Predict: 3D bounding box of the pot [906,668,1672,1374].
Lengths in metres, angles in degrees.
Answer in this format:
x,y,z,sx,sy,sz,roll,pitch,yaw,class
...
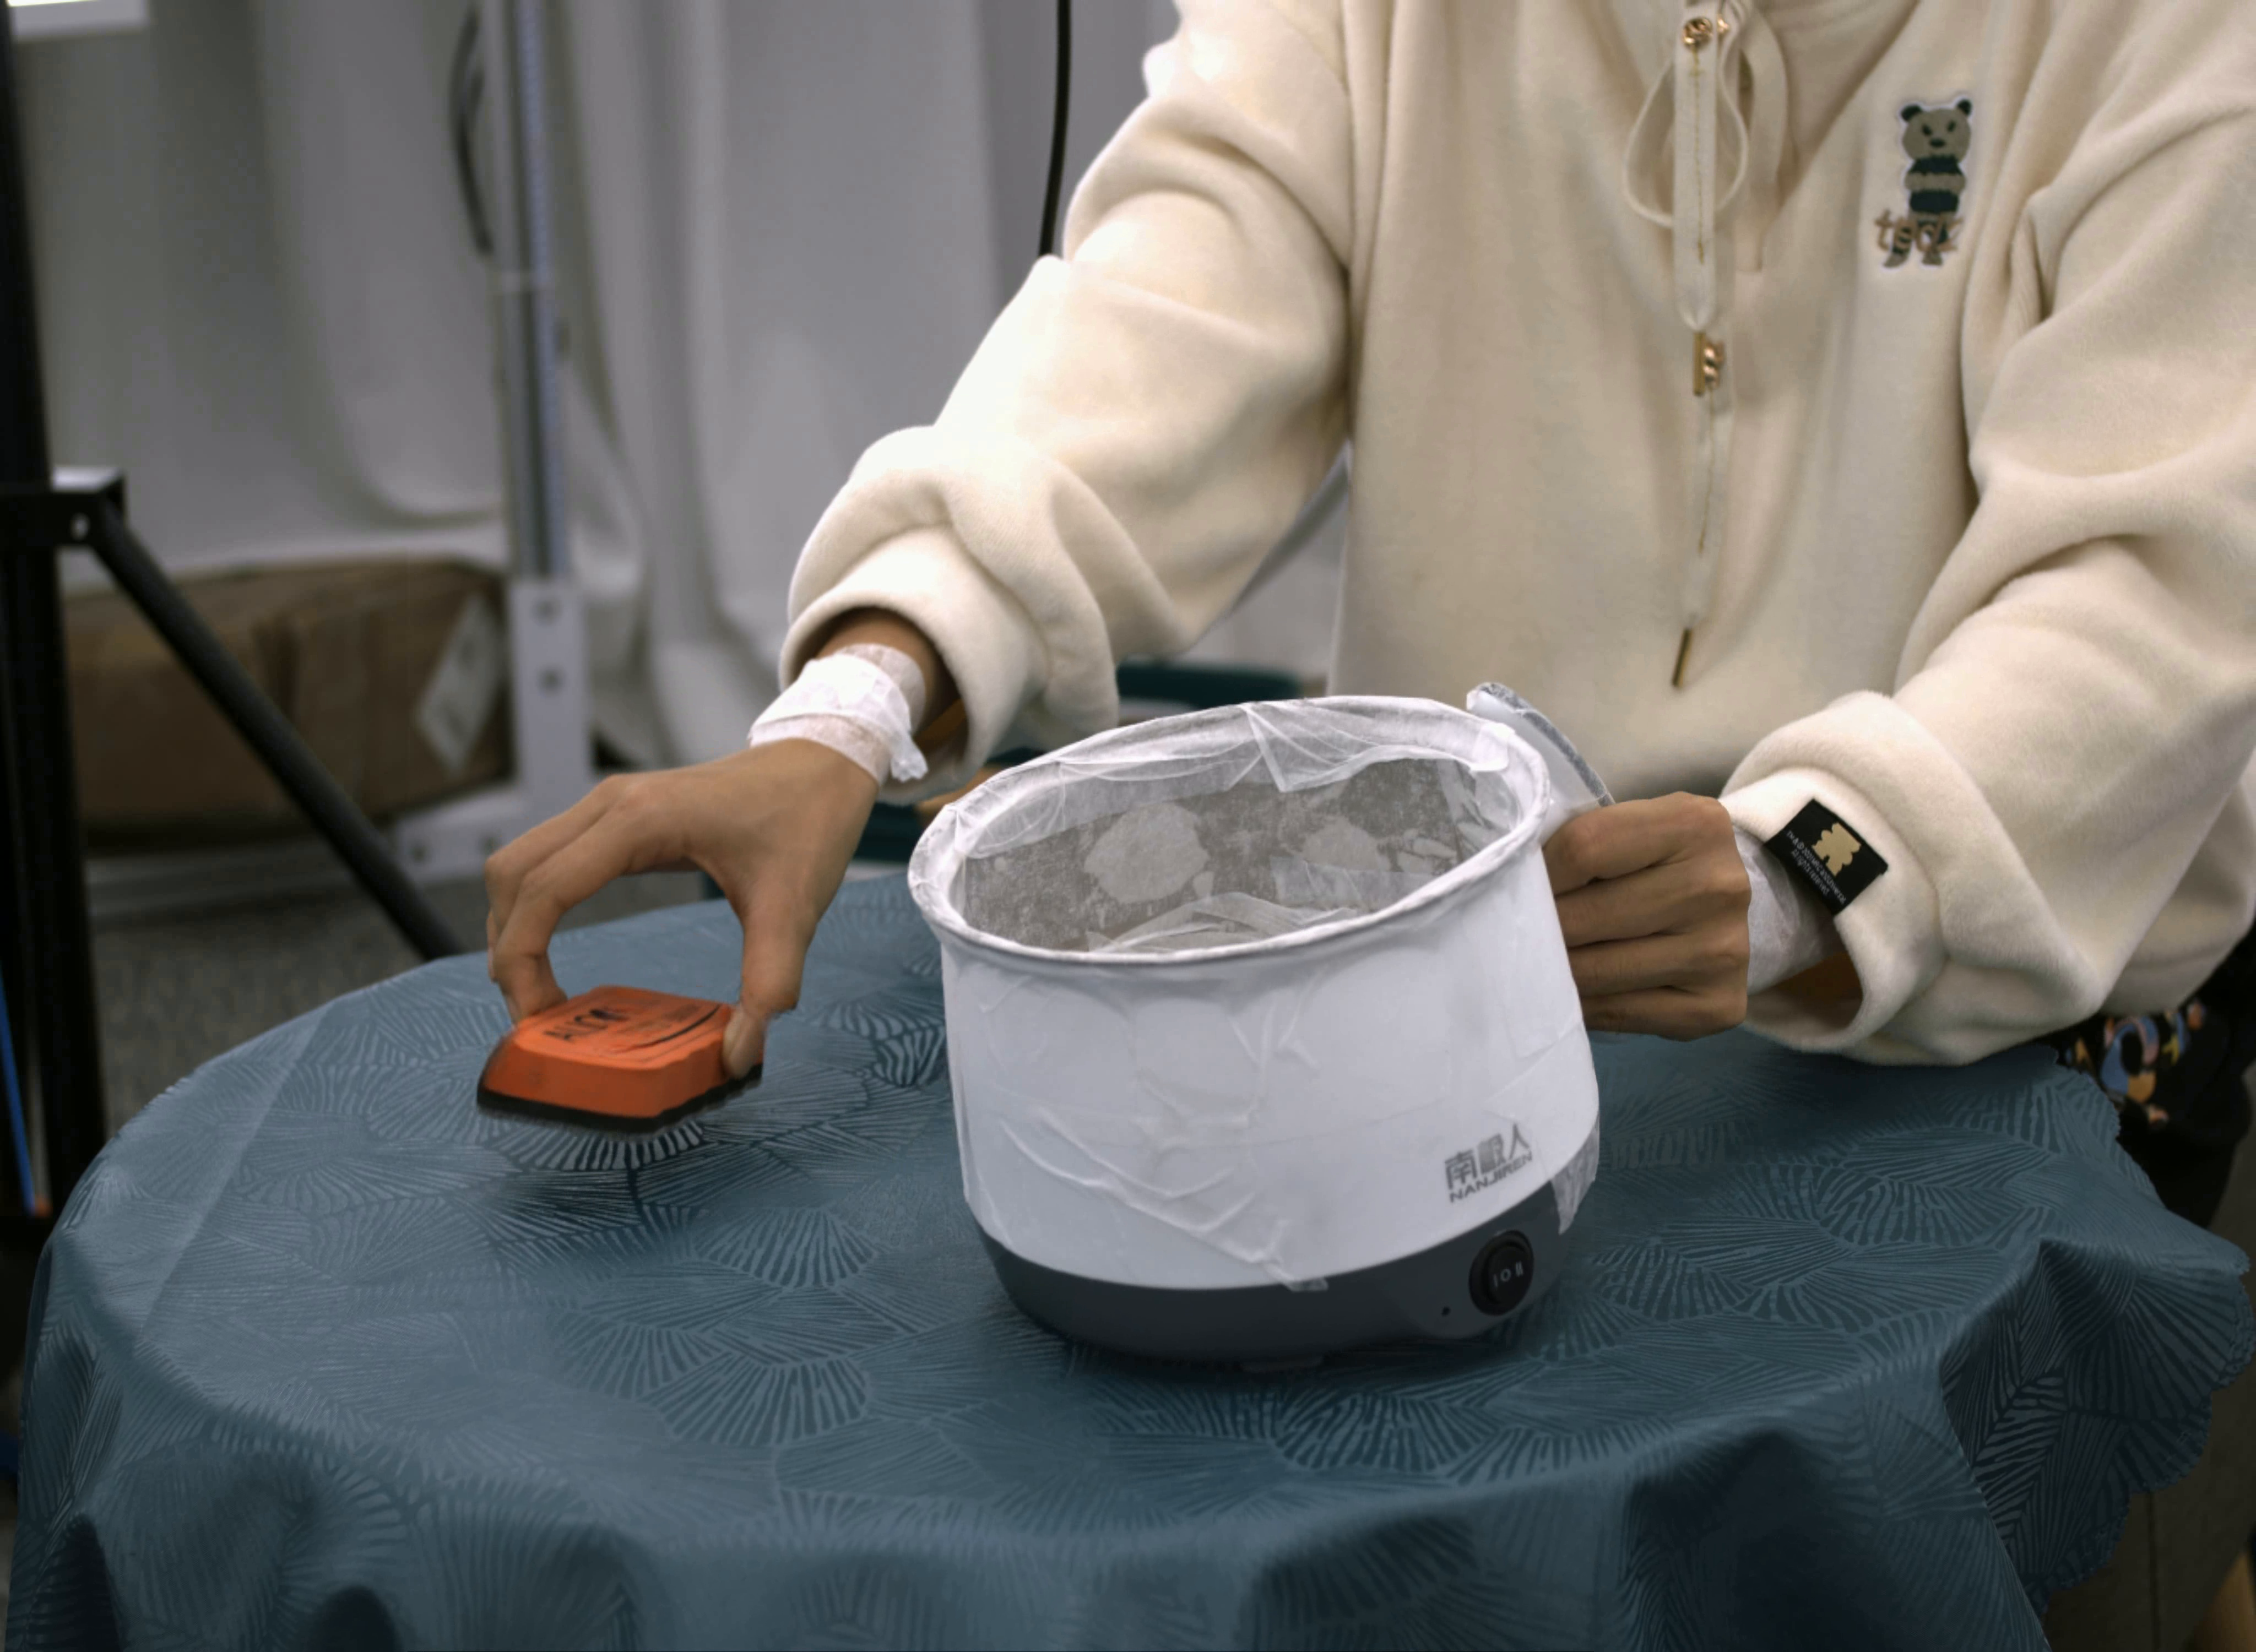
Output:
x,y,z,sx,sy,sz,roll,pitch,yaw,class
0.057,0.045,1.466,0.229,0.136,0.183,-27,29,-34,pot

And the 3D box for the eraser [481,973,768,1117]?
x,y,z,sx,sy,sz,roll,pitch,yaw,class
-0.150,0.065,1.595,0.059,0.023,0.107,10,8,15,eraser
